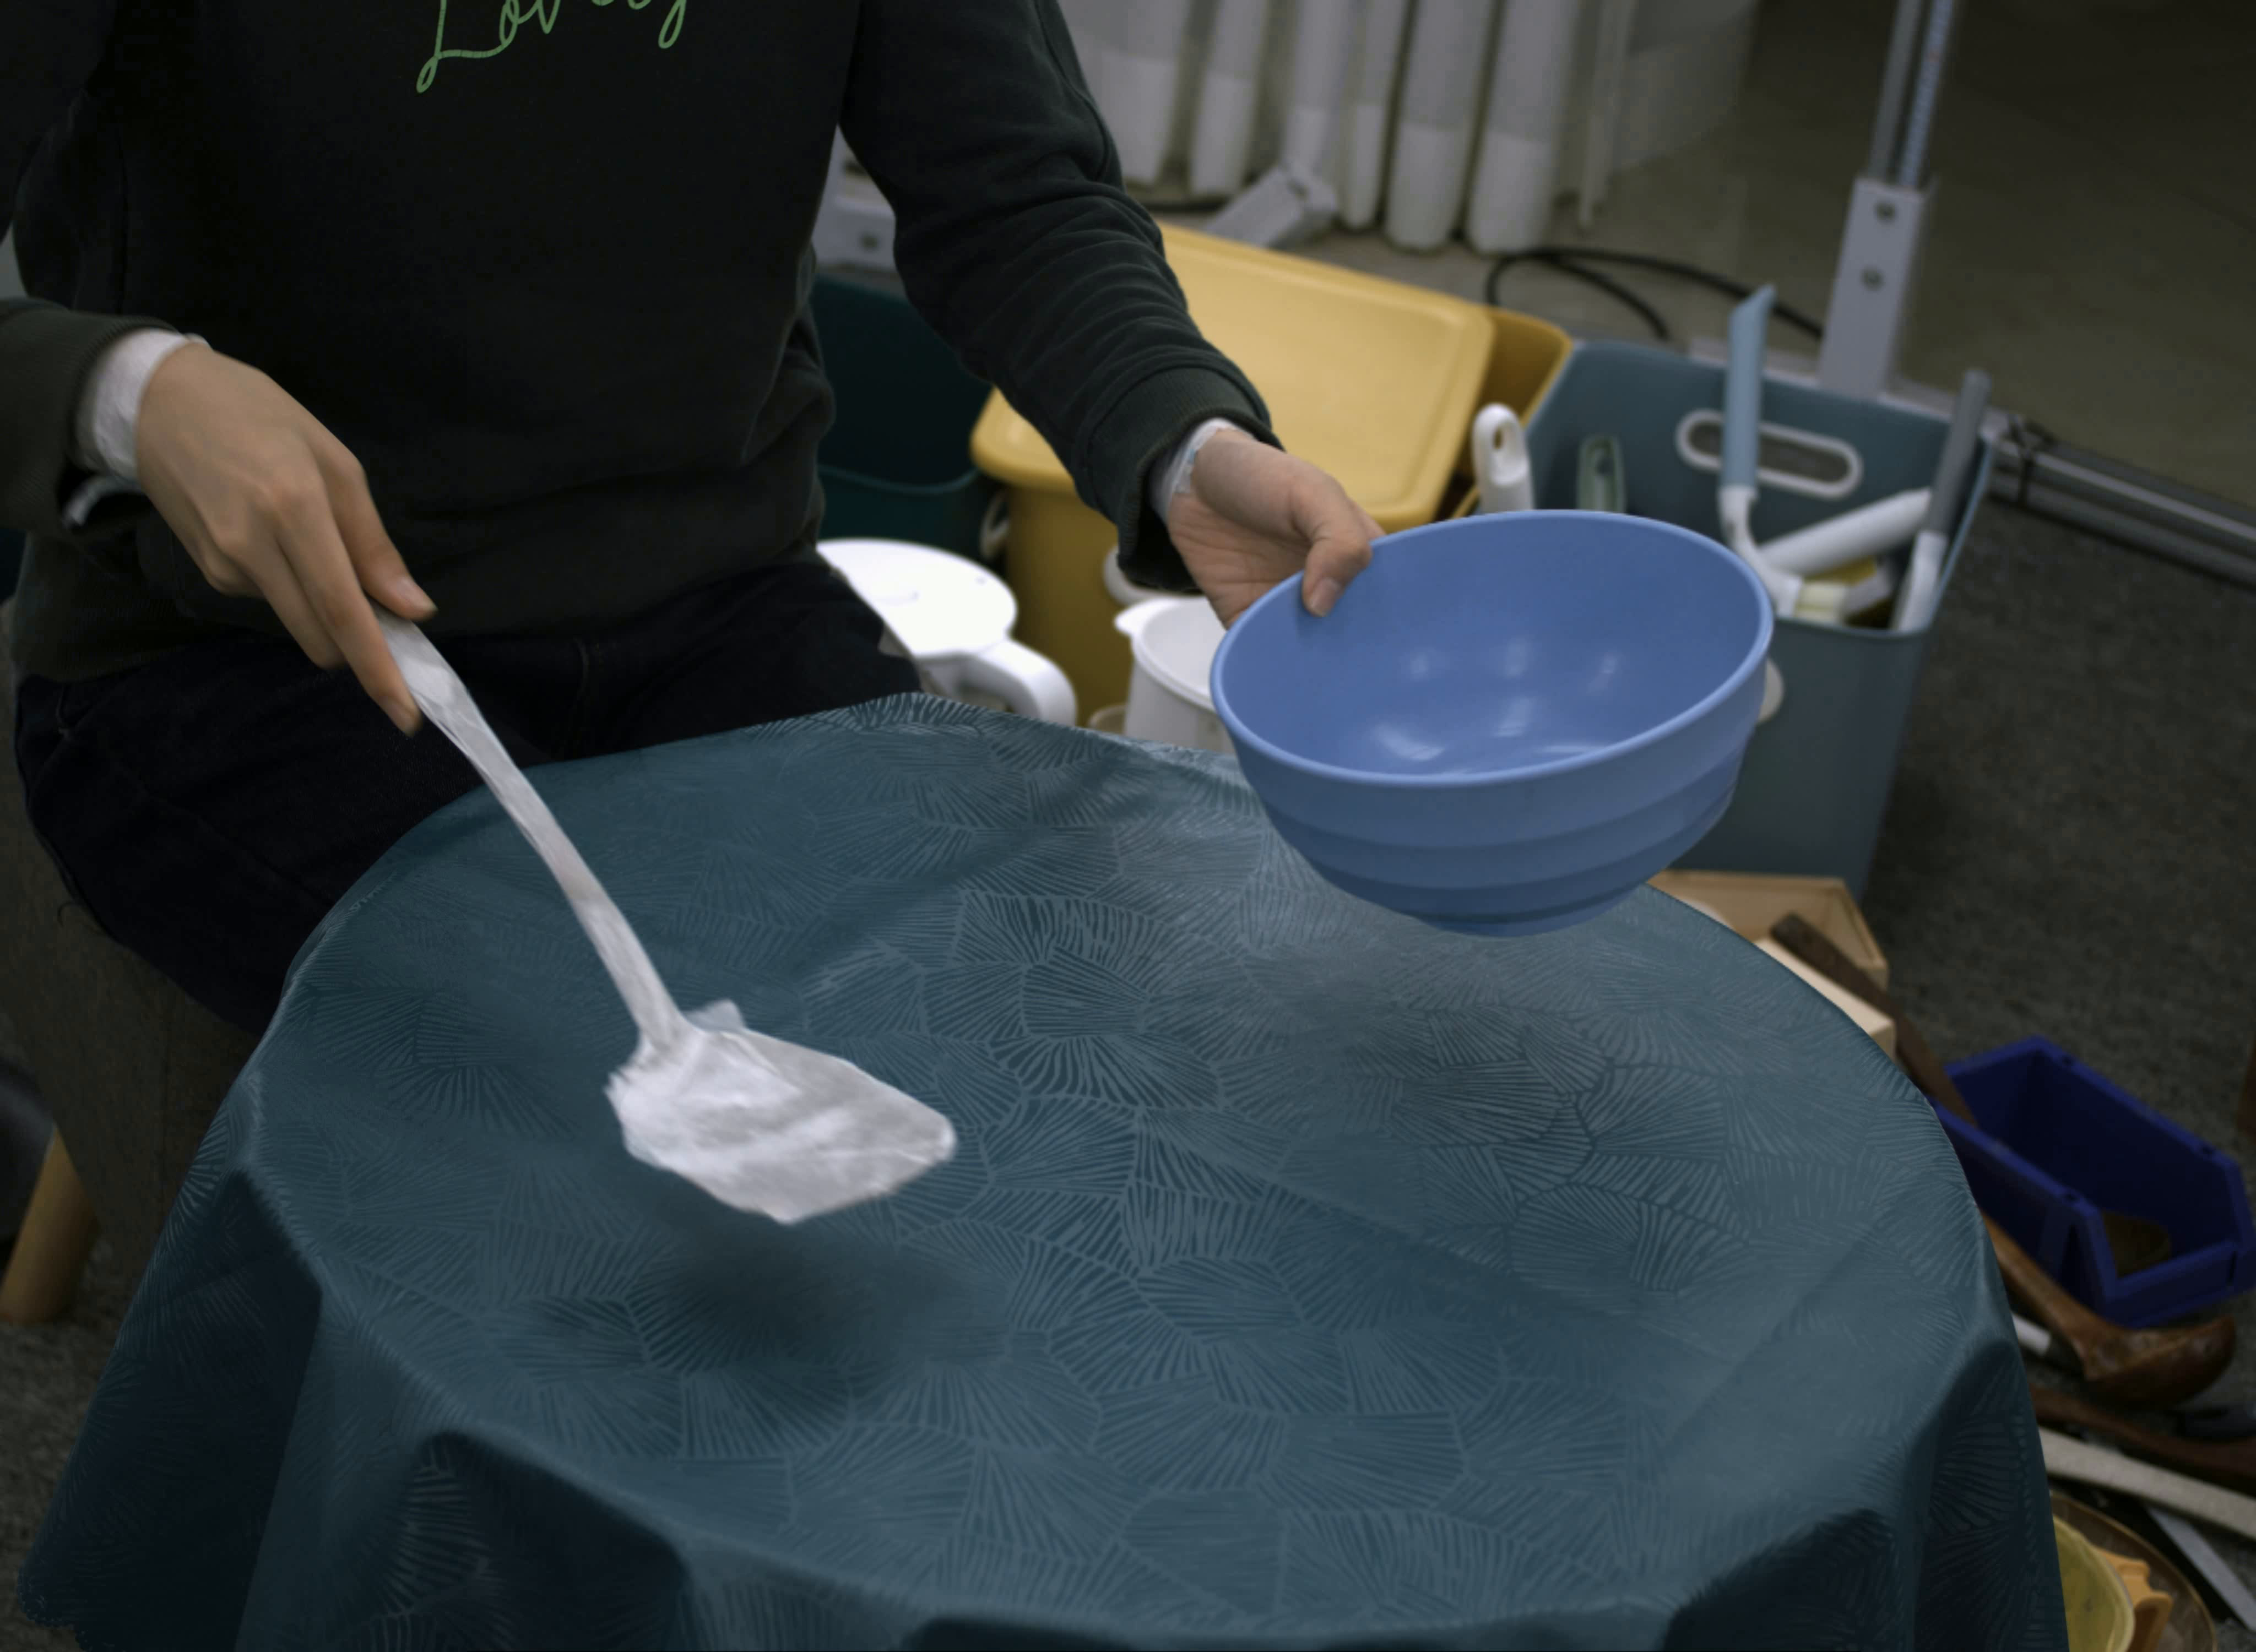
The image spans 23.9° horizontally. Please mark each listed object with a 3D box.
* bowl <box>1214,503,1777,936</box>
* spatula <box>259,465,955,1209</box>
[{"bbox_3d":[0.134,-0.026,1.858,0.196,0.095,0.198,-9,30,5],"label":"bowl"},{"bbox_3d":[-0.191,-0.004,1.754,0.098,0.044,0.367,-17,59,-40],"label":"spatula"}]
